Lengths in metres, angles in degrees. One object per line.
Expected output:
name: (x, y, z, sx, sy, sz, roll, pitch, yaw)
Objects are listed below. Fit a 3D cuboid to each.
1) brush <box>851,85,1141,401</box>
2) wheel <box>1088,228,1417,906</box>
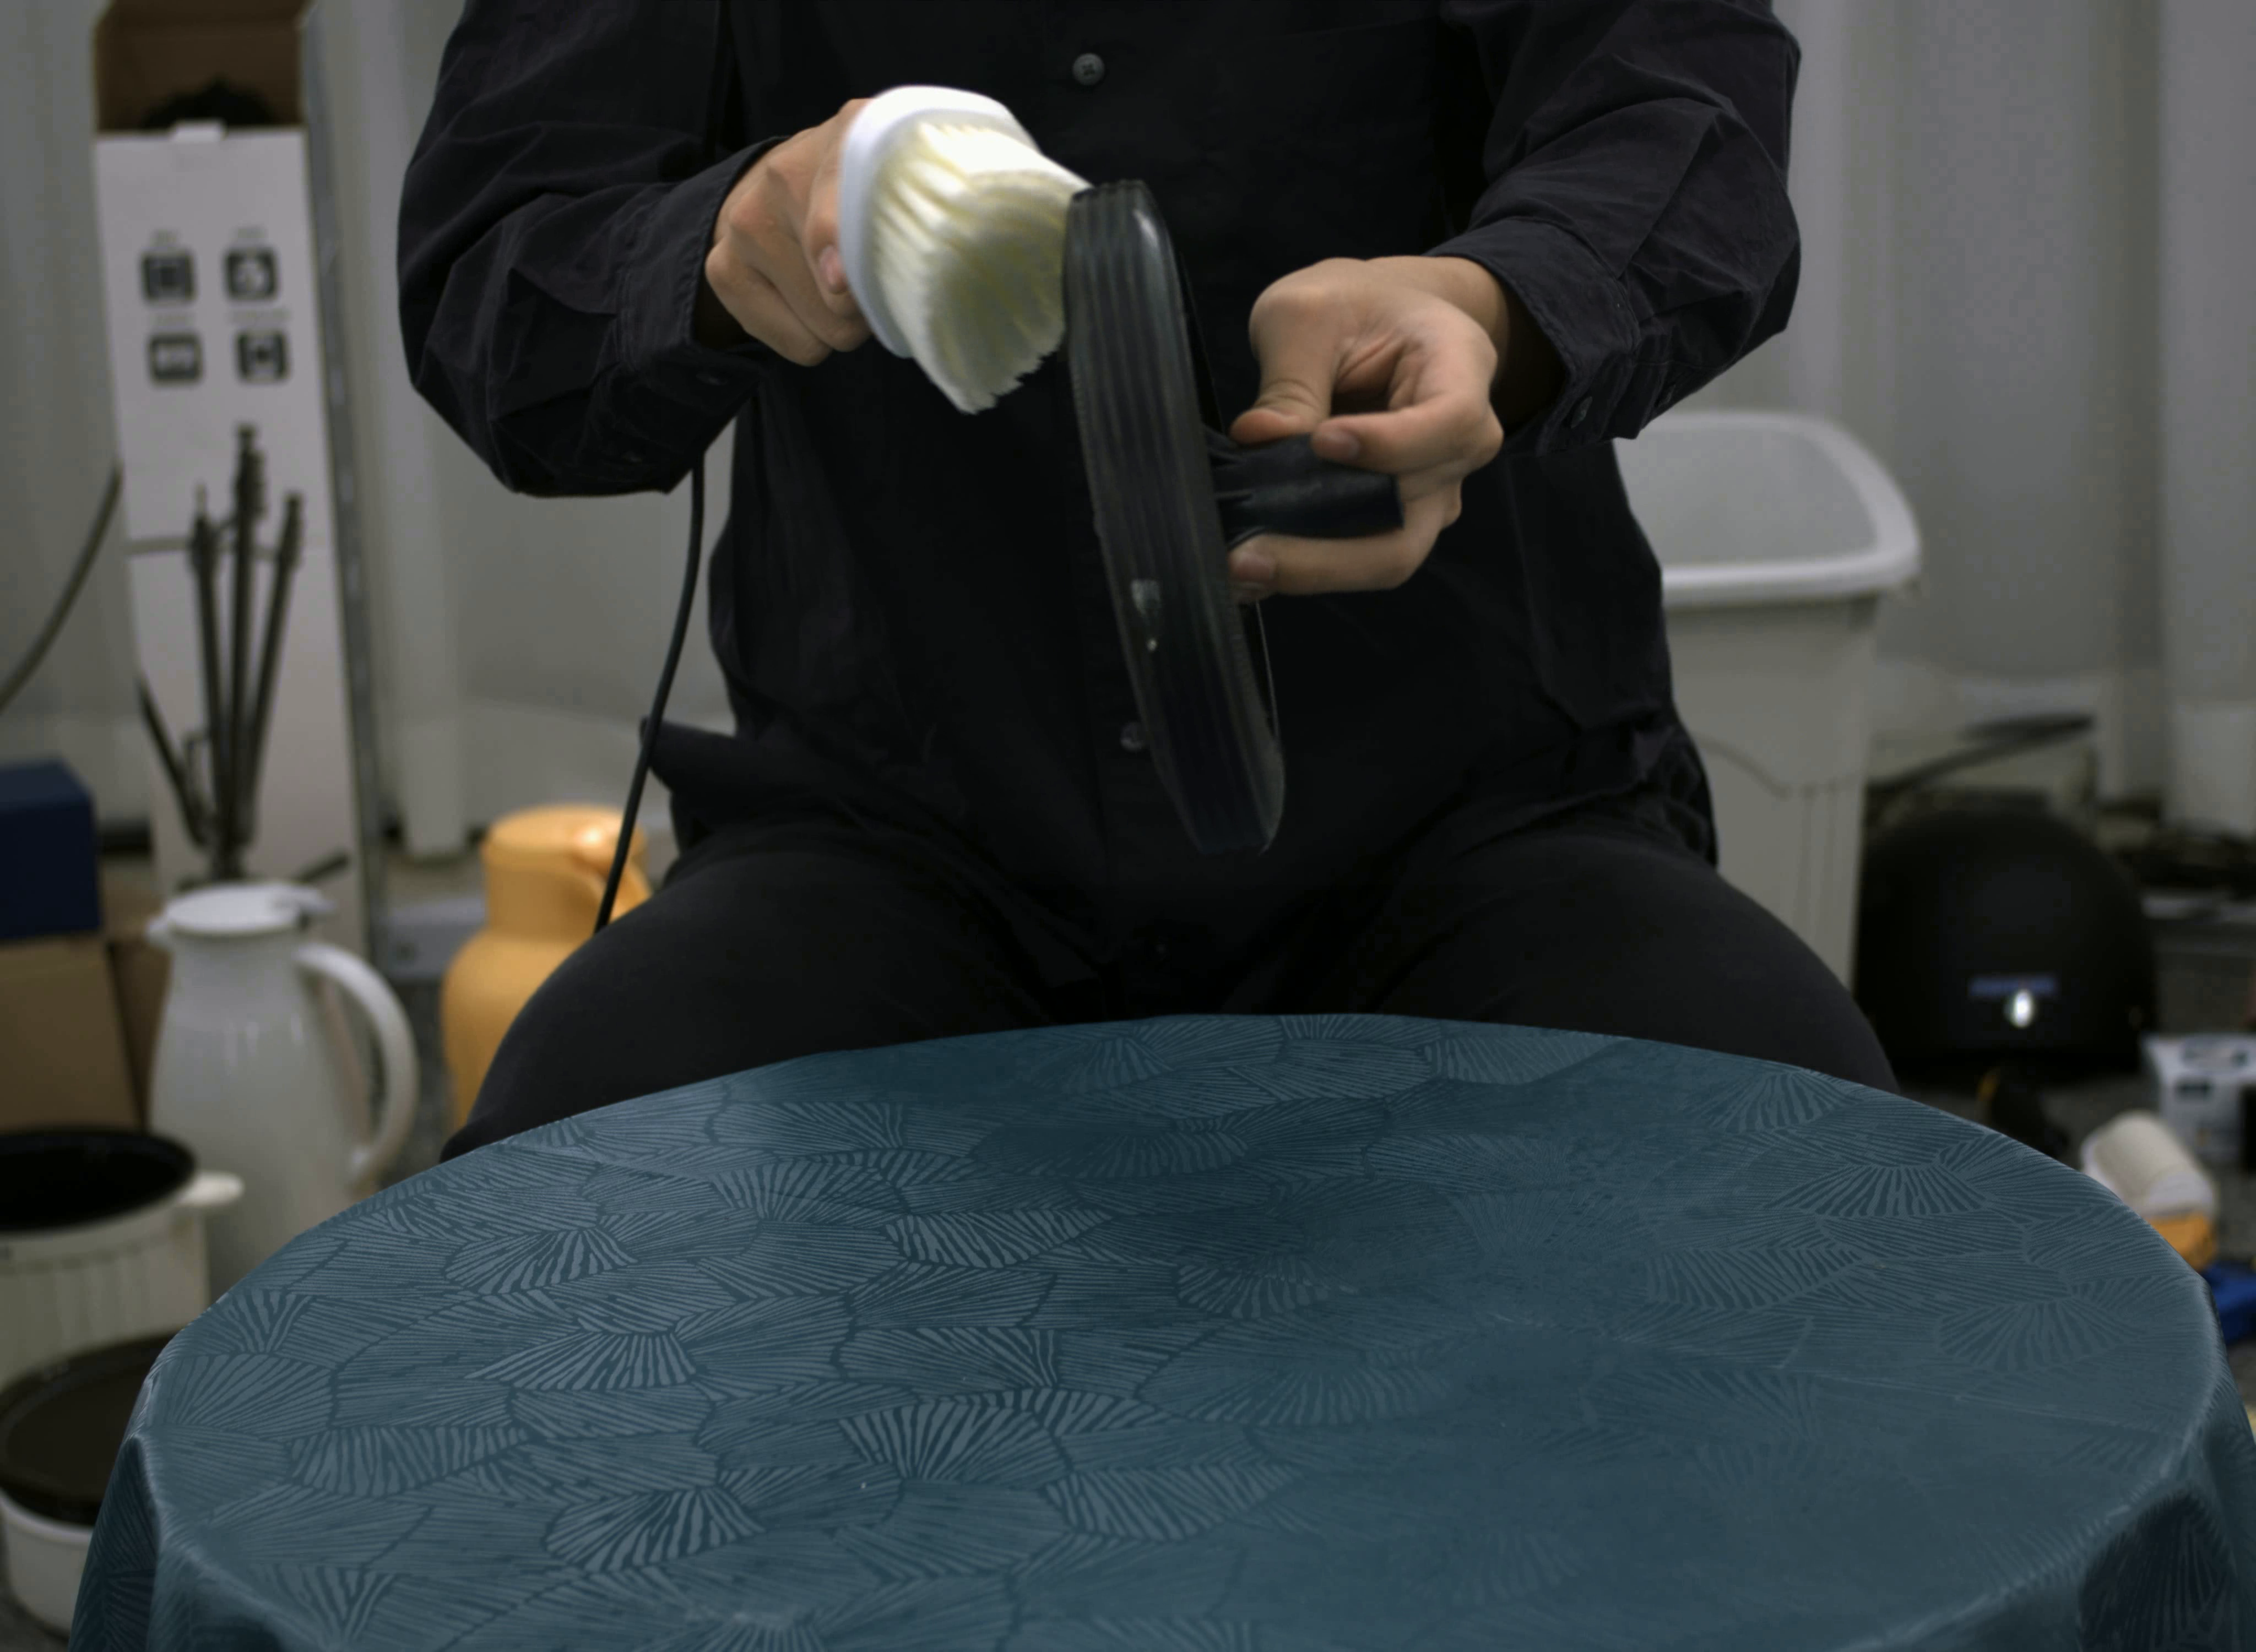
brush: (-0.038, -0.164, 1.648, 0.083, 0.085, 0.325, -12, -3, -1)
wheel: (0.039, -0.076, 1.523, 0.079, 0.185, 0.193, -12, 48, 3)
